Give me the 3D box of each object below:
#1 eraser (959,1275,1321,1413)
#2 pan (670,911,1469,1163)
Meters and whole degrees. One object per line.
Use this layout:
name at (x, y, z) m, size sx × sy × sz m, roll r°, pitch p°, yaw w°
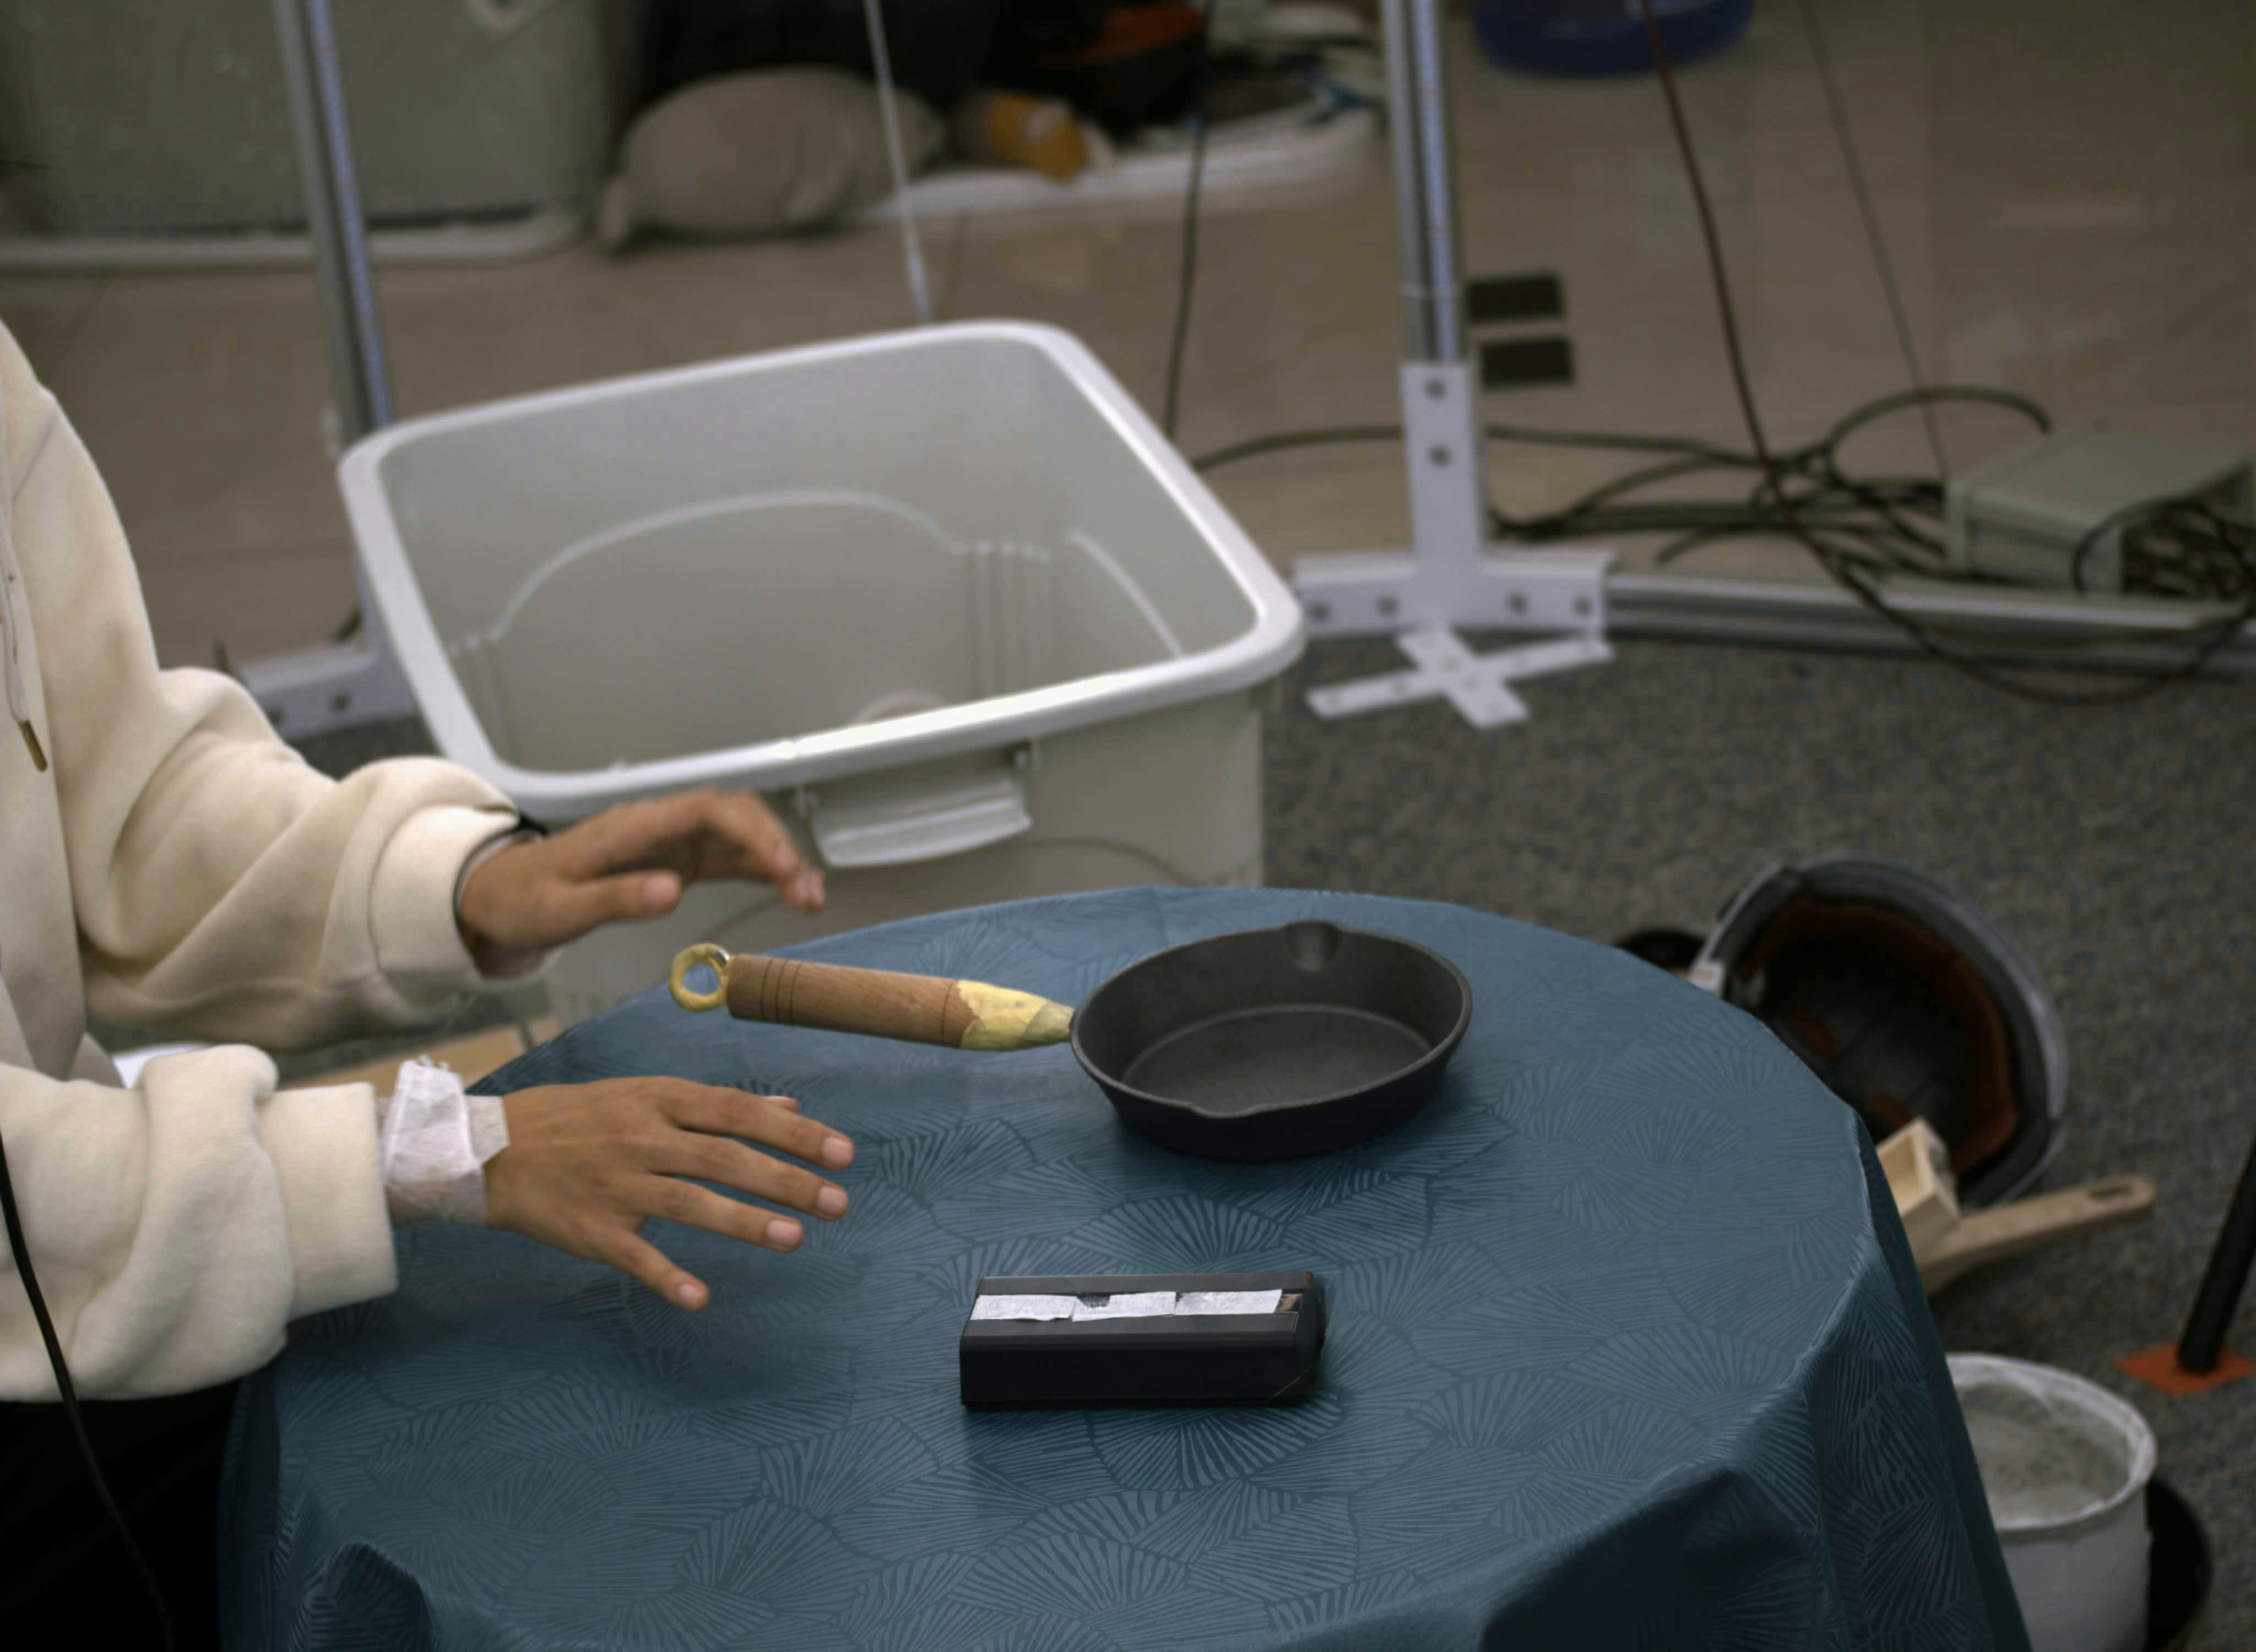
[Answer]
eraser at (0.006, 0.184, 2.019) m, size 0.125 × 0.031 × 0.053 m, roll -3°, pitch 25°, yaw 12°
pan at (-0.025, 0.077, 2.225) m, size 0.323 × 0.050 × 0.166 m, roll 2°, pitch 28°, yaw 17°
